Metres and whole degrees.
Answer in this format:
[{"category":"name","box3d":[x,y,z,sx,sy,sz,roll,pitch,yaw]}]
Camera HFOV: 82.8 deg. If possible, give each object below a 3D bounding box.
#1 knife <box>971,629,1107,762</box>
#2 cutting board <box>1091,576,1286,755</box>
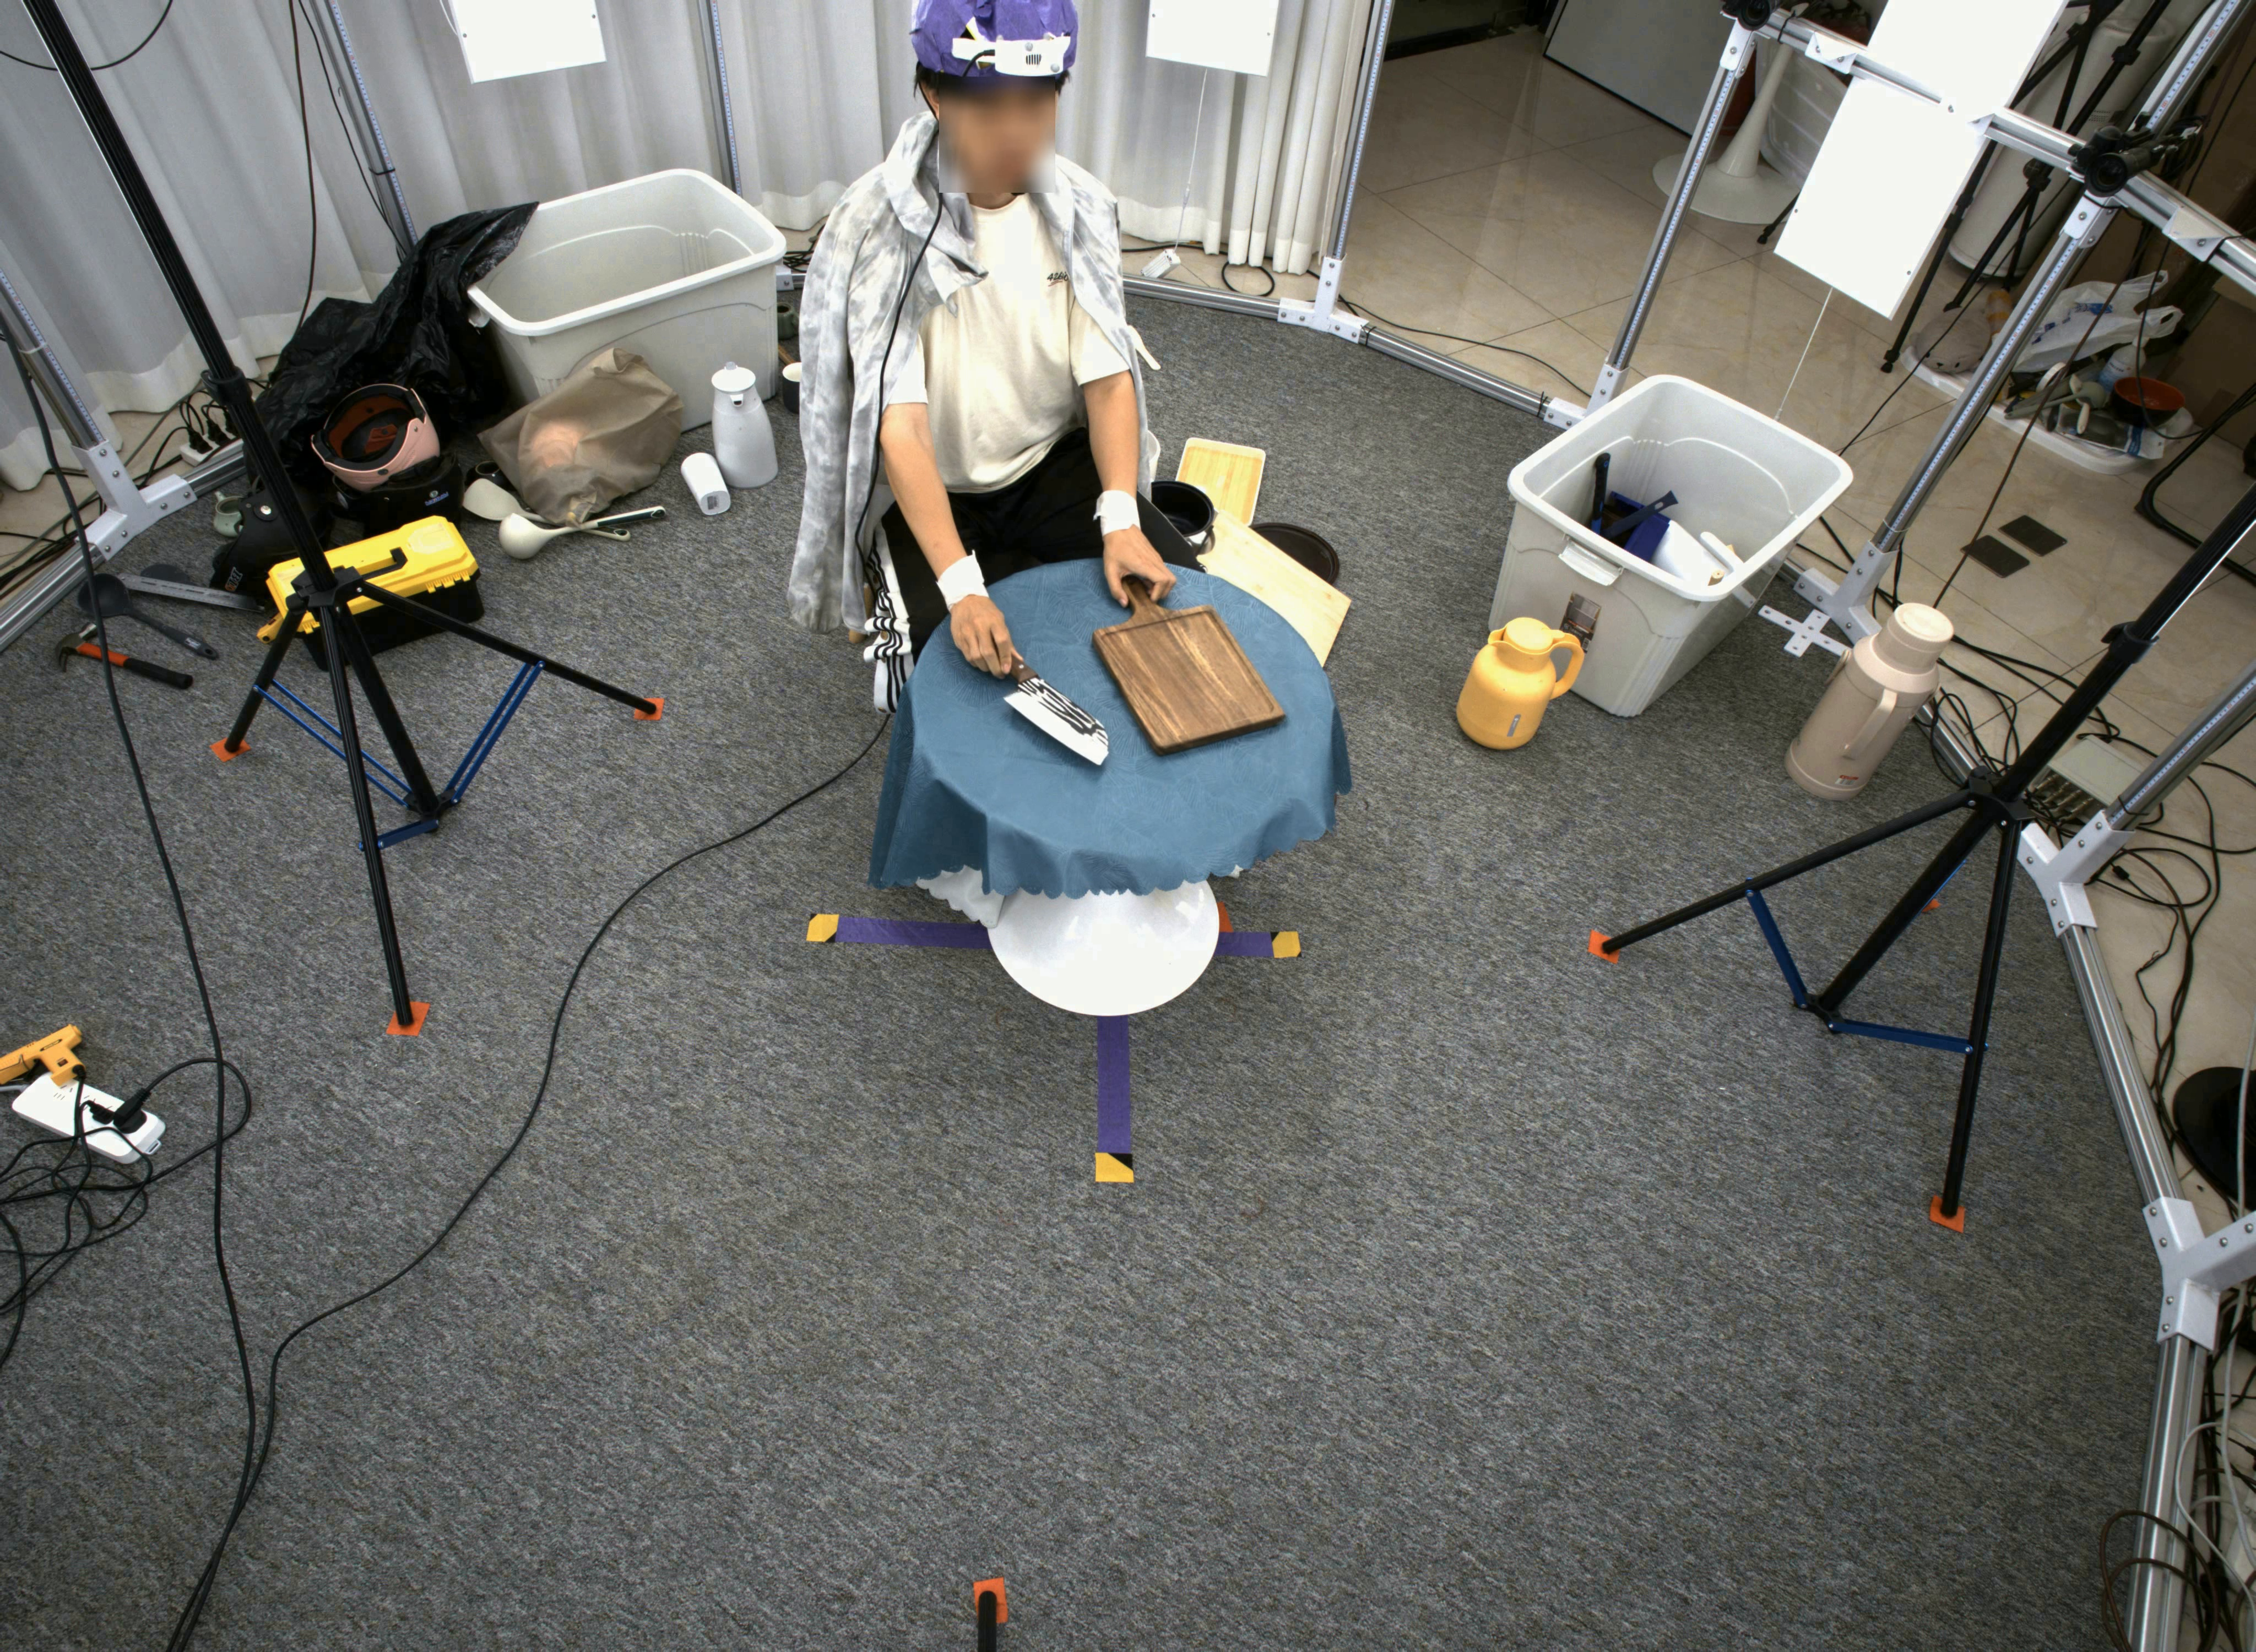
[{"category":"knife","box3d":[-0.131,-0.182,1.779,0.069,0.023,0.304,-34,60,-31]},{"category":"cutting board","box3d":[0.064,-0.252,1.871,0.201,0.022,0.360,-16,51,-17]}]
